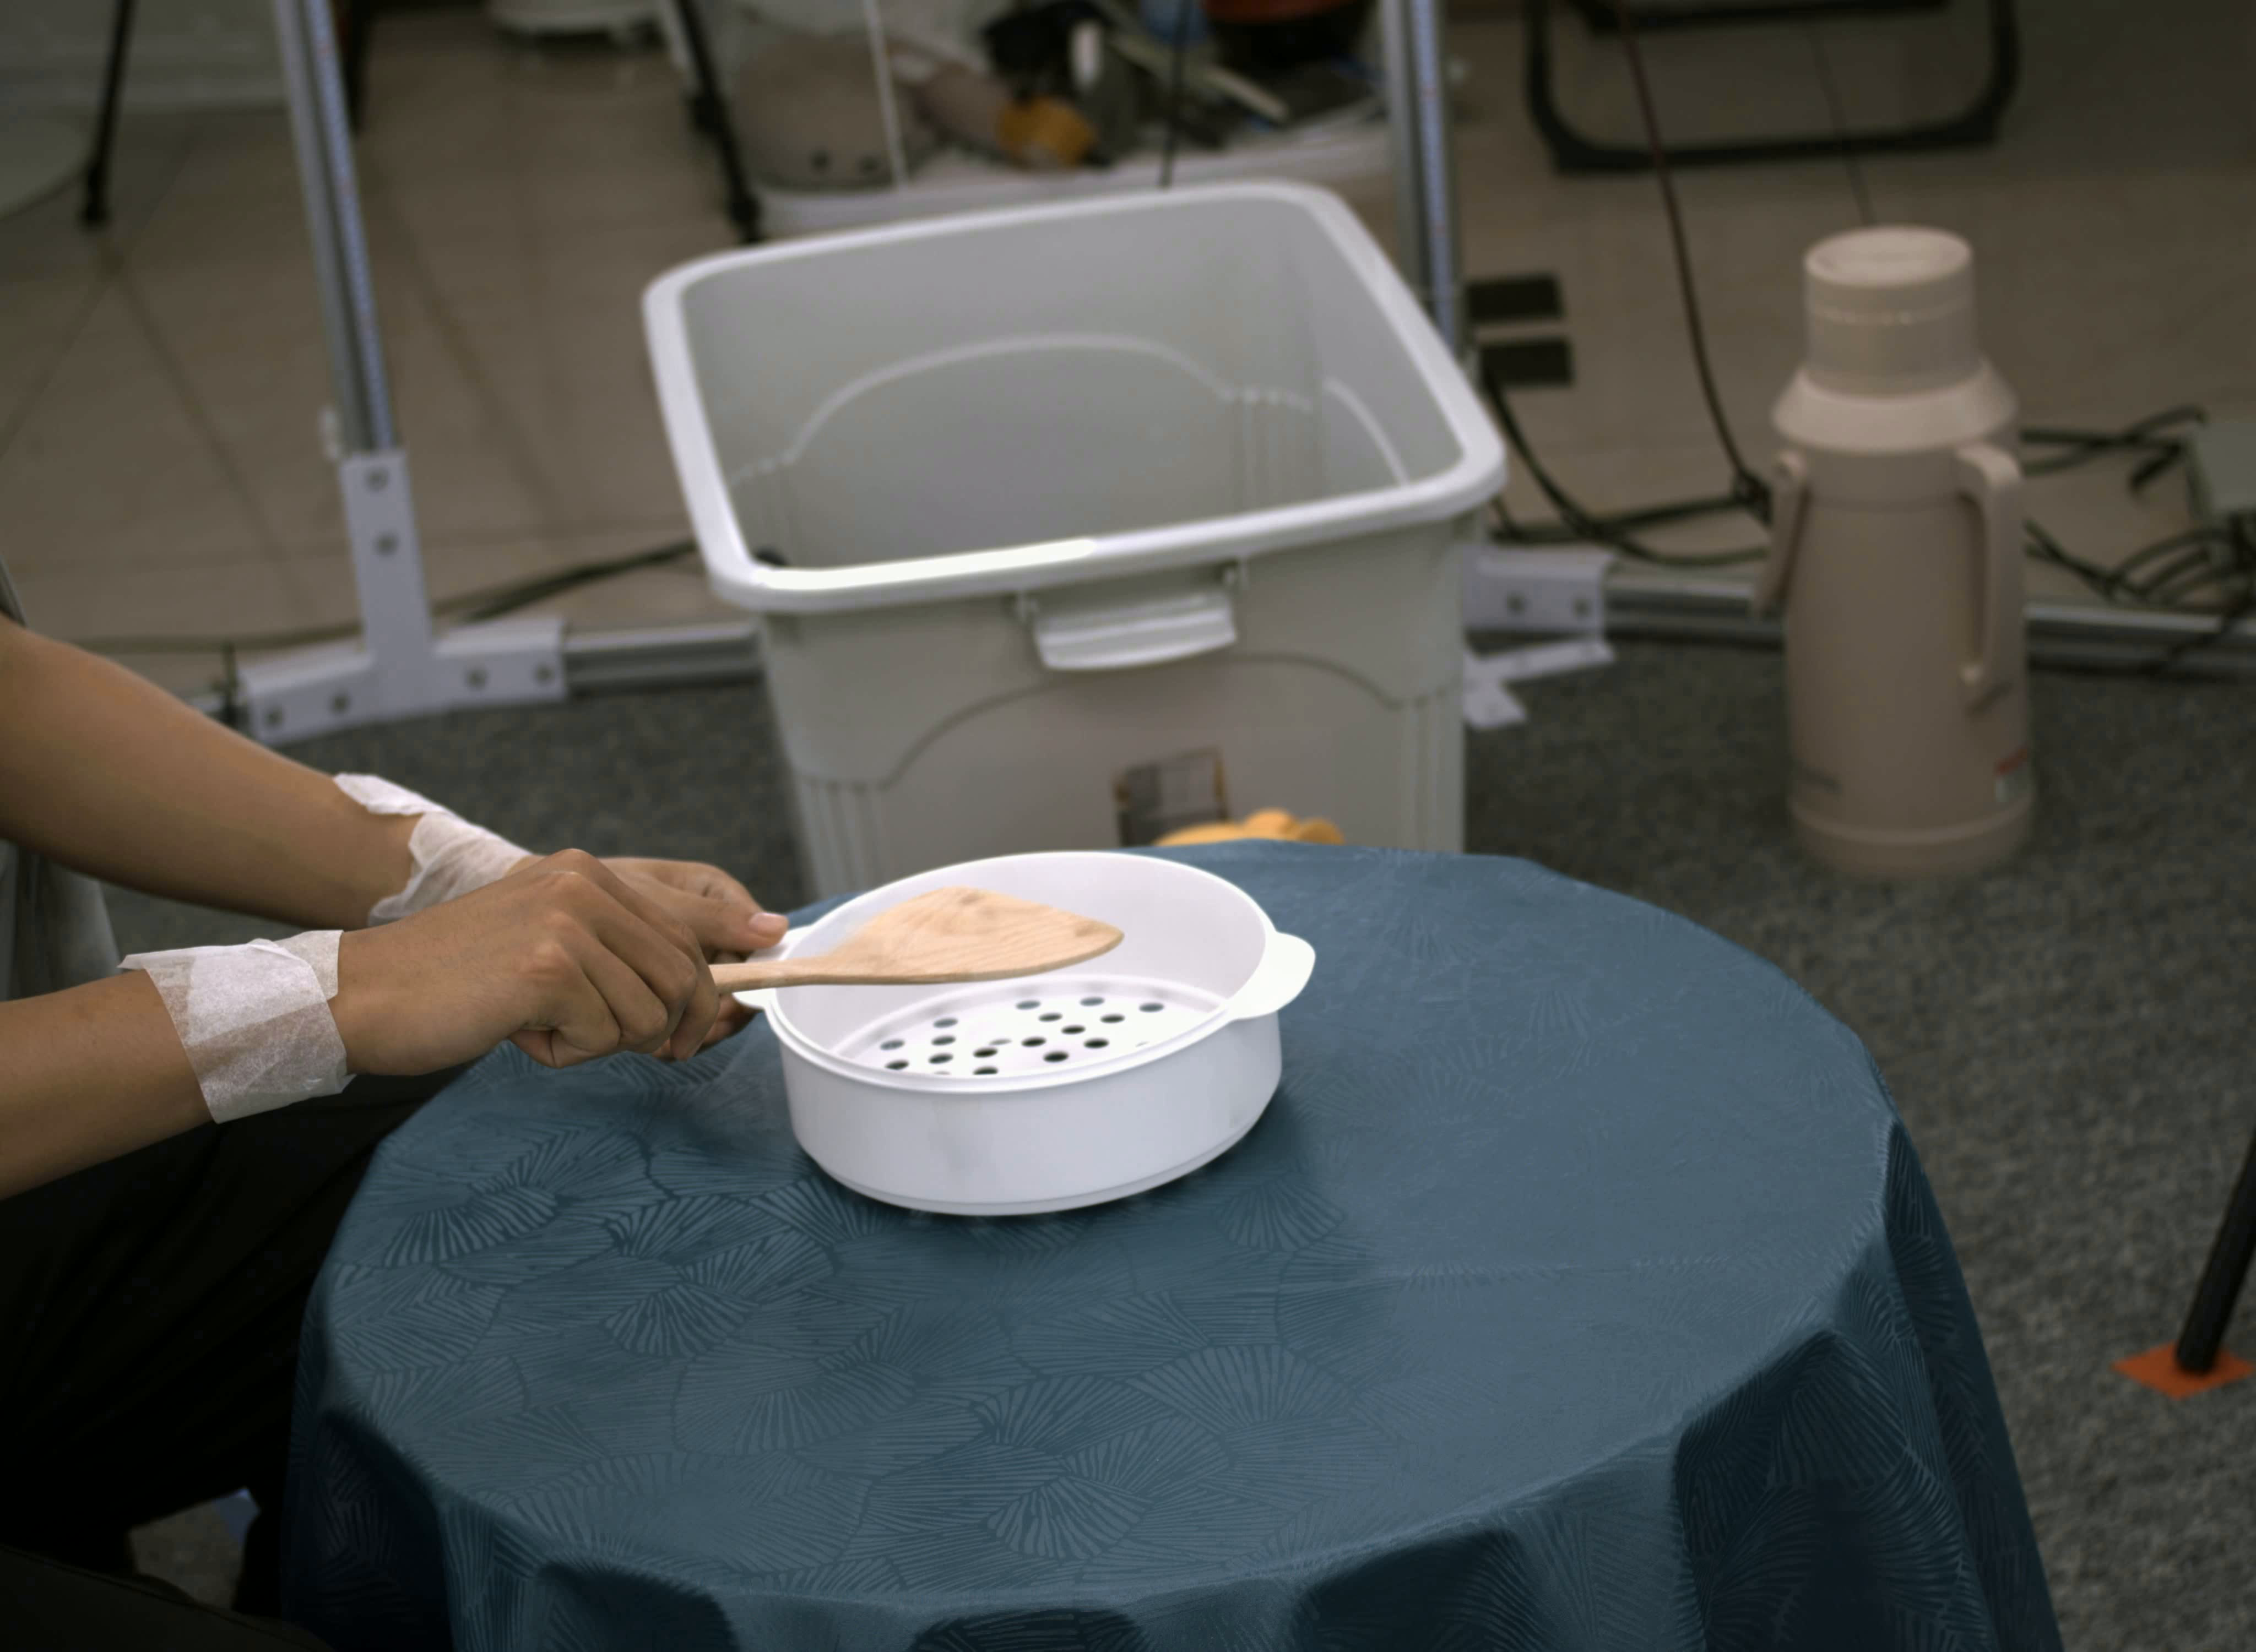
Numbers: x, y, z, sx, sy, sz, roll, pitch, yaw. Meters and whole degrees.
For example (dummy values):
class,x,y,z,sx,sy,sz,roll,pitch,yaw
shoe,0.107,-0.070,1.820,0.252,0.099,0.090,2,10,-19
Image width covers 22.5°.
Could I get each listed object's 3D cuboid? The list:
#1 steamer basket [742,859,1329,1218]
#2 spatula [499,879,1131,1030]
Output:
class,x,y,z,sx,sy,sz,roll,pitch,yaw
steamer basket,-0.034,0.082,2.202,0.230,0.070,0.199,1,24,16
spatula,-0.118,0.047,2.061,0.079,0.017,0.326,18,15,31
